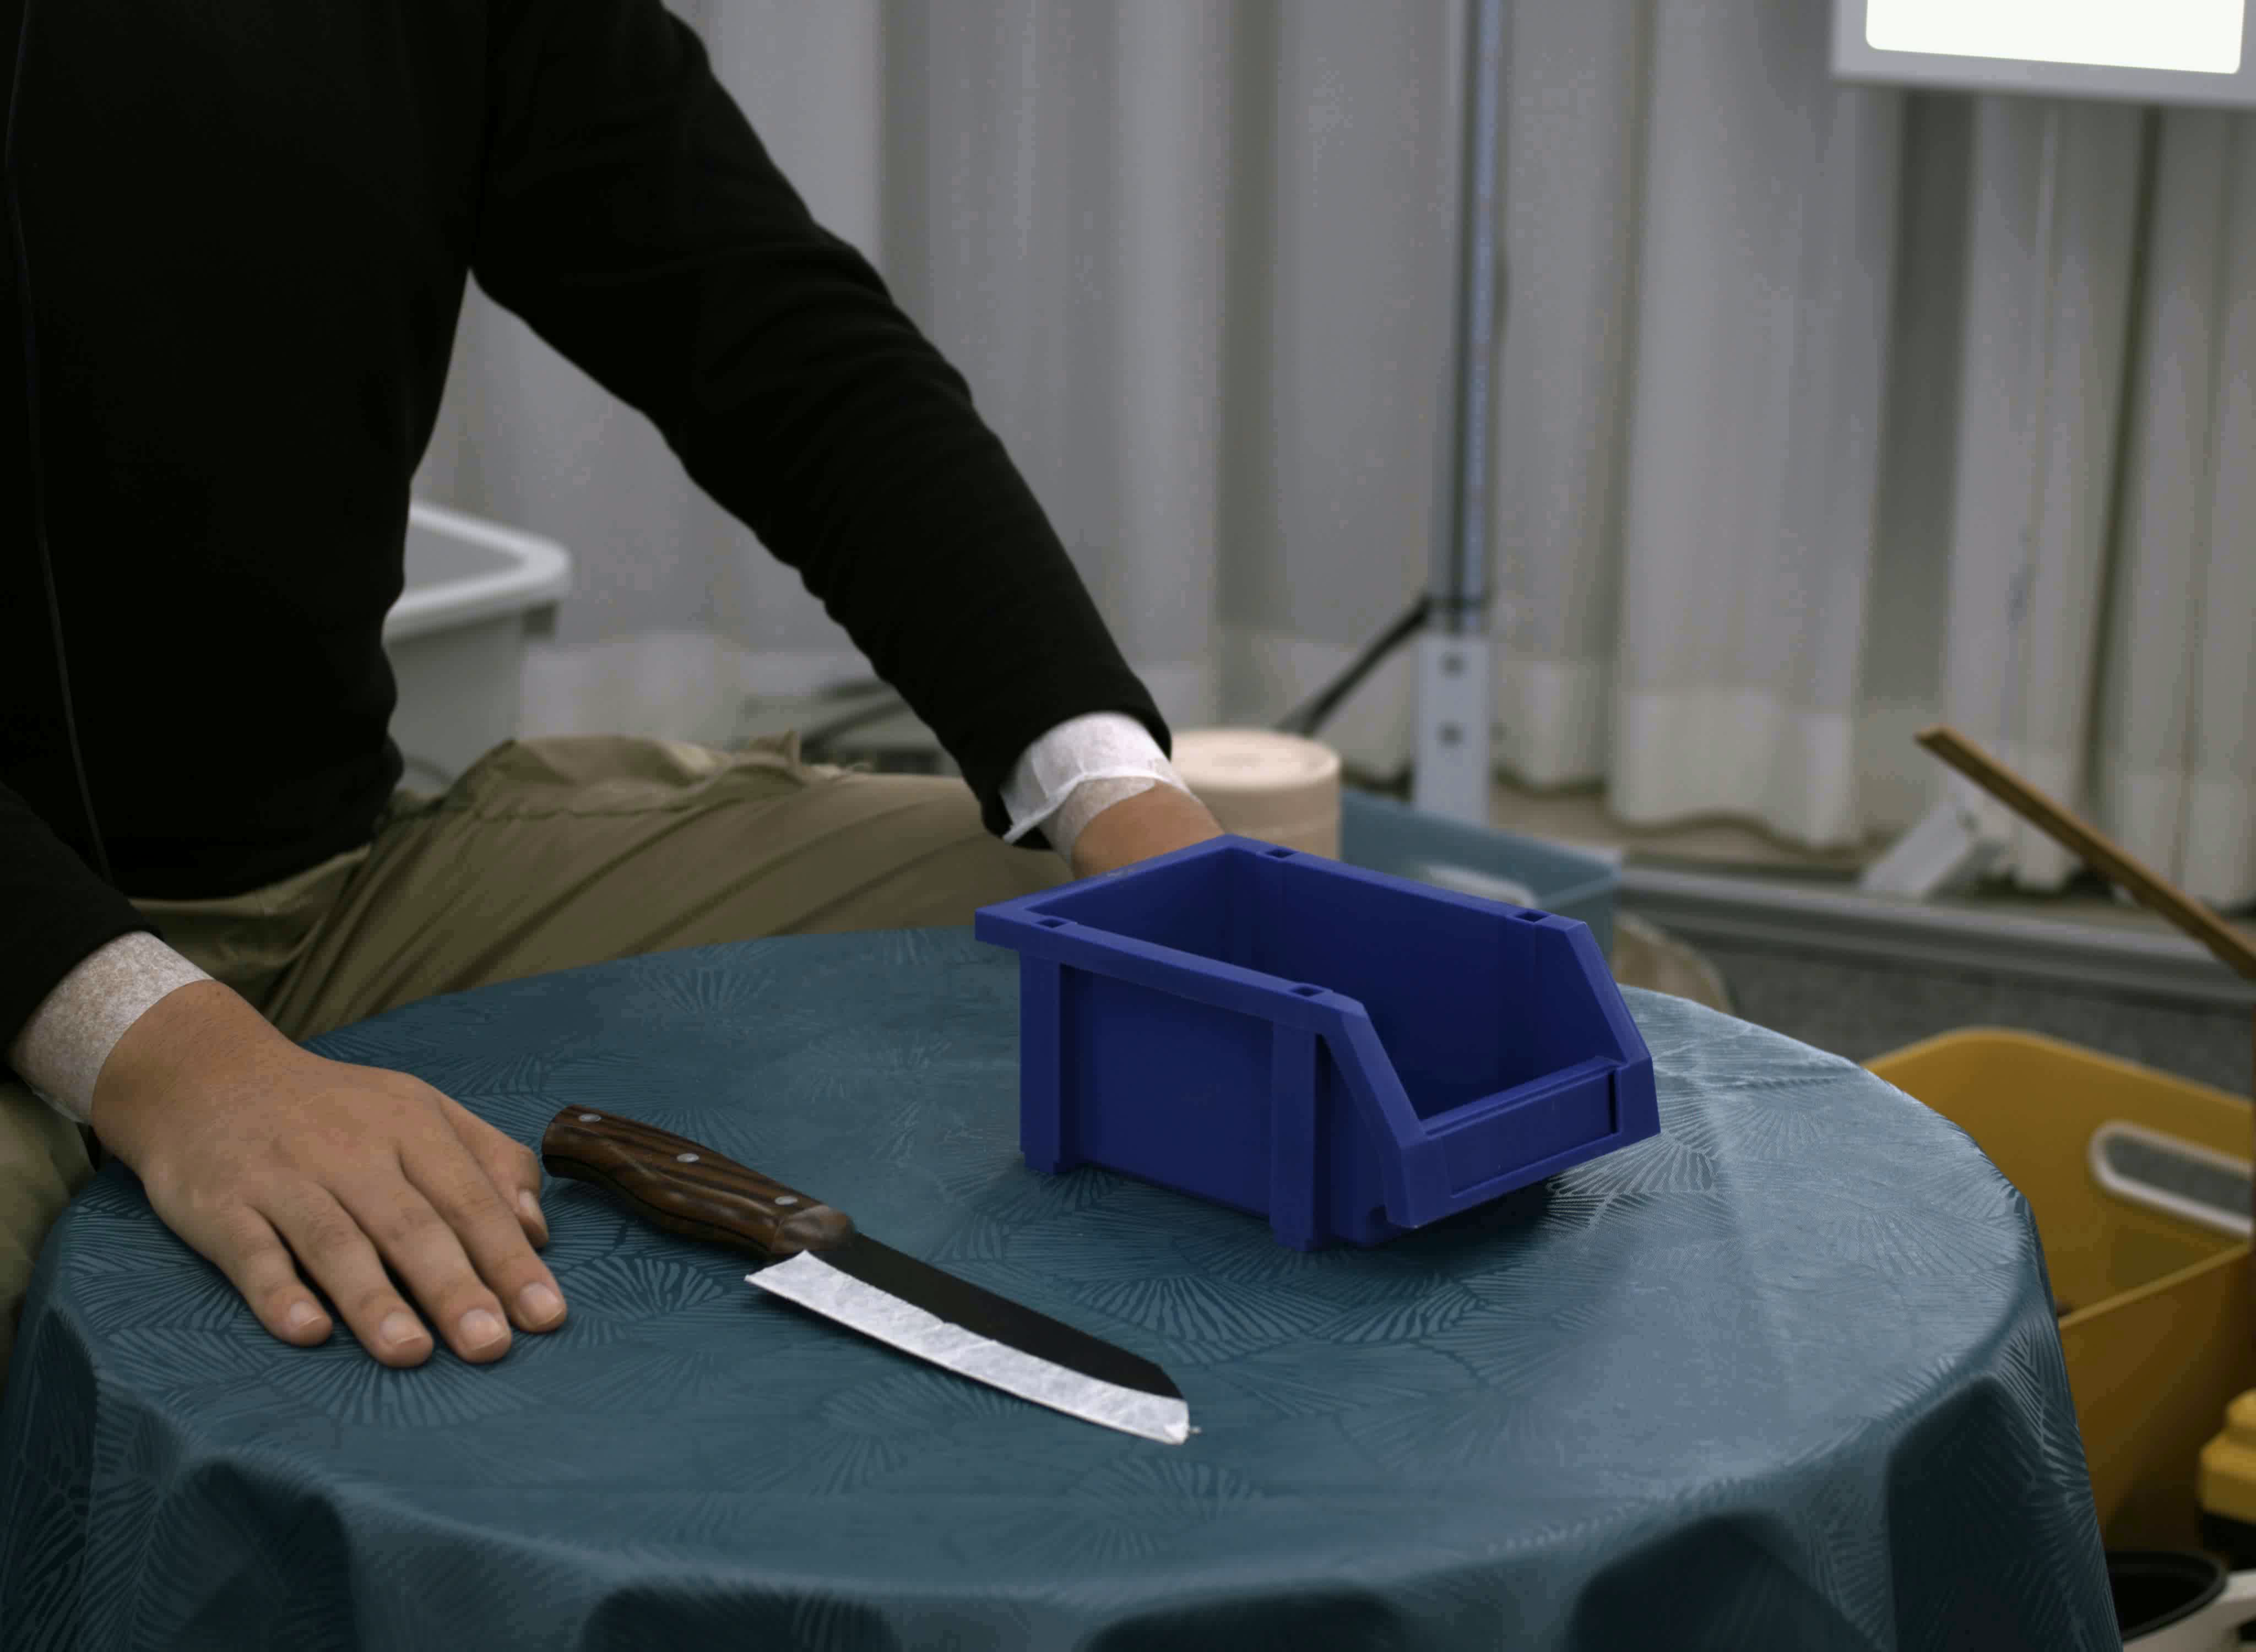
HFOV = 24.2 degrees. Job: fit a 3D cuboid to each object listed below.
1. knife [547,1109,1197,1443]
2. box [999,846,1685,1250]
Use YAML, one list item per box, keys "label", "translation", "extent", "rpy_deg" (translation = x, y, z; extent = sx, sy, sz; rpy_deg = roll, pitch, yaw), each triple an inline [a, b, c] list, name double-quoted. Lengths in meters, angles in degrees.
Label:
- label: "knife"
  translation: [-0.078, 0.131, 1.525]
  extent: [0.050, 0.020, 0.285]
  rpy_deg: [-19, 27, -38]
- label: "box"
  translation: [0.067, 0.069, 1.626]
  extent: [0.177, 0.082, 0.125]
  rpy_deg: [12, 19, 43]
